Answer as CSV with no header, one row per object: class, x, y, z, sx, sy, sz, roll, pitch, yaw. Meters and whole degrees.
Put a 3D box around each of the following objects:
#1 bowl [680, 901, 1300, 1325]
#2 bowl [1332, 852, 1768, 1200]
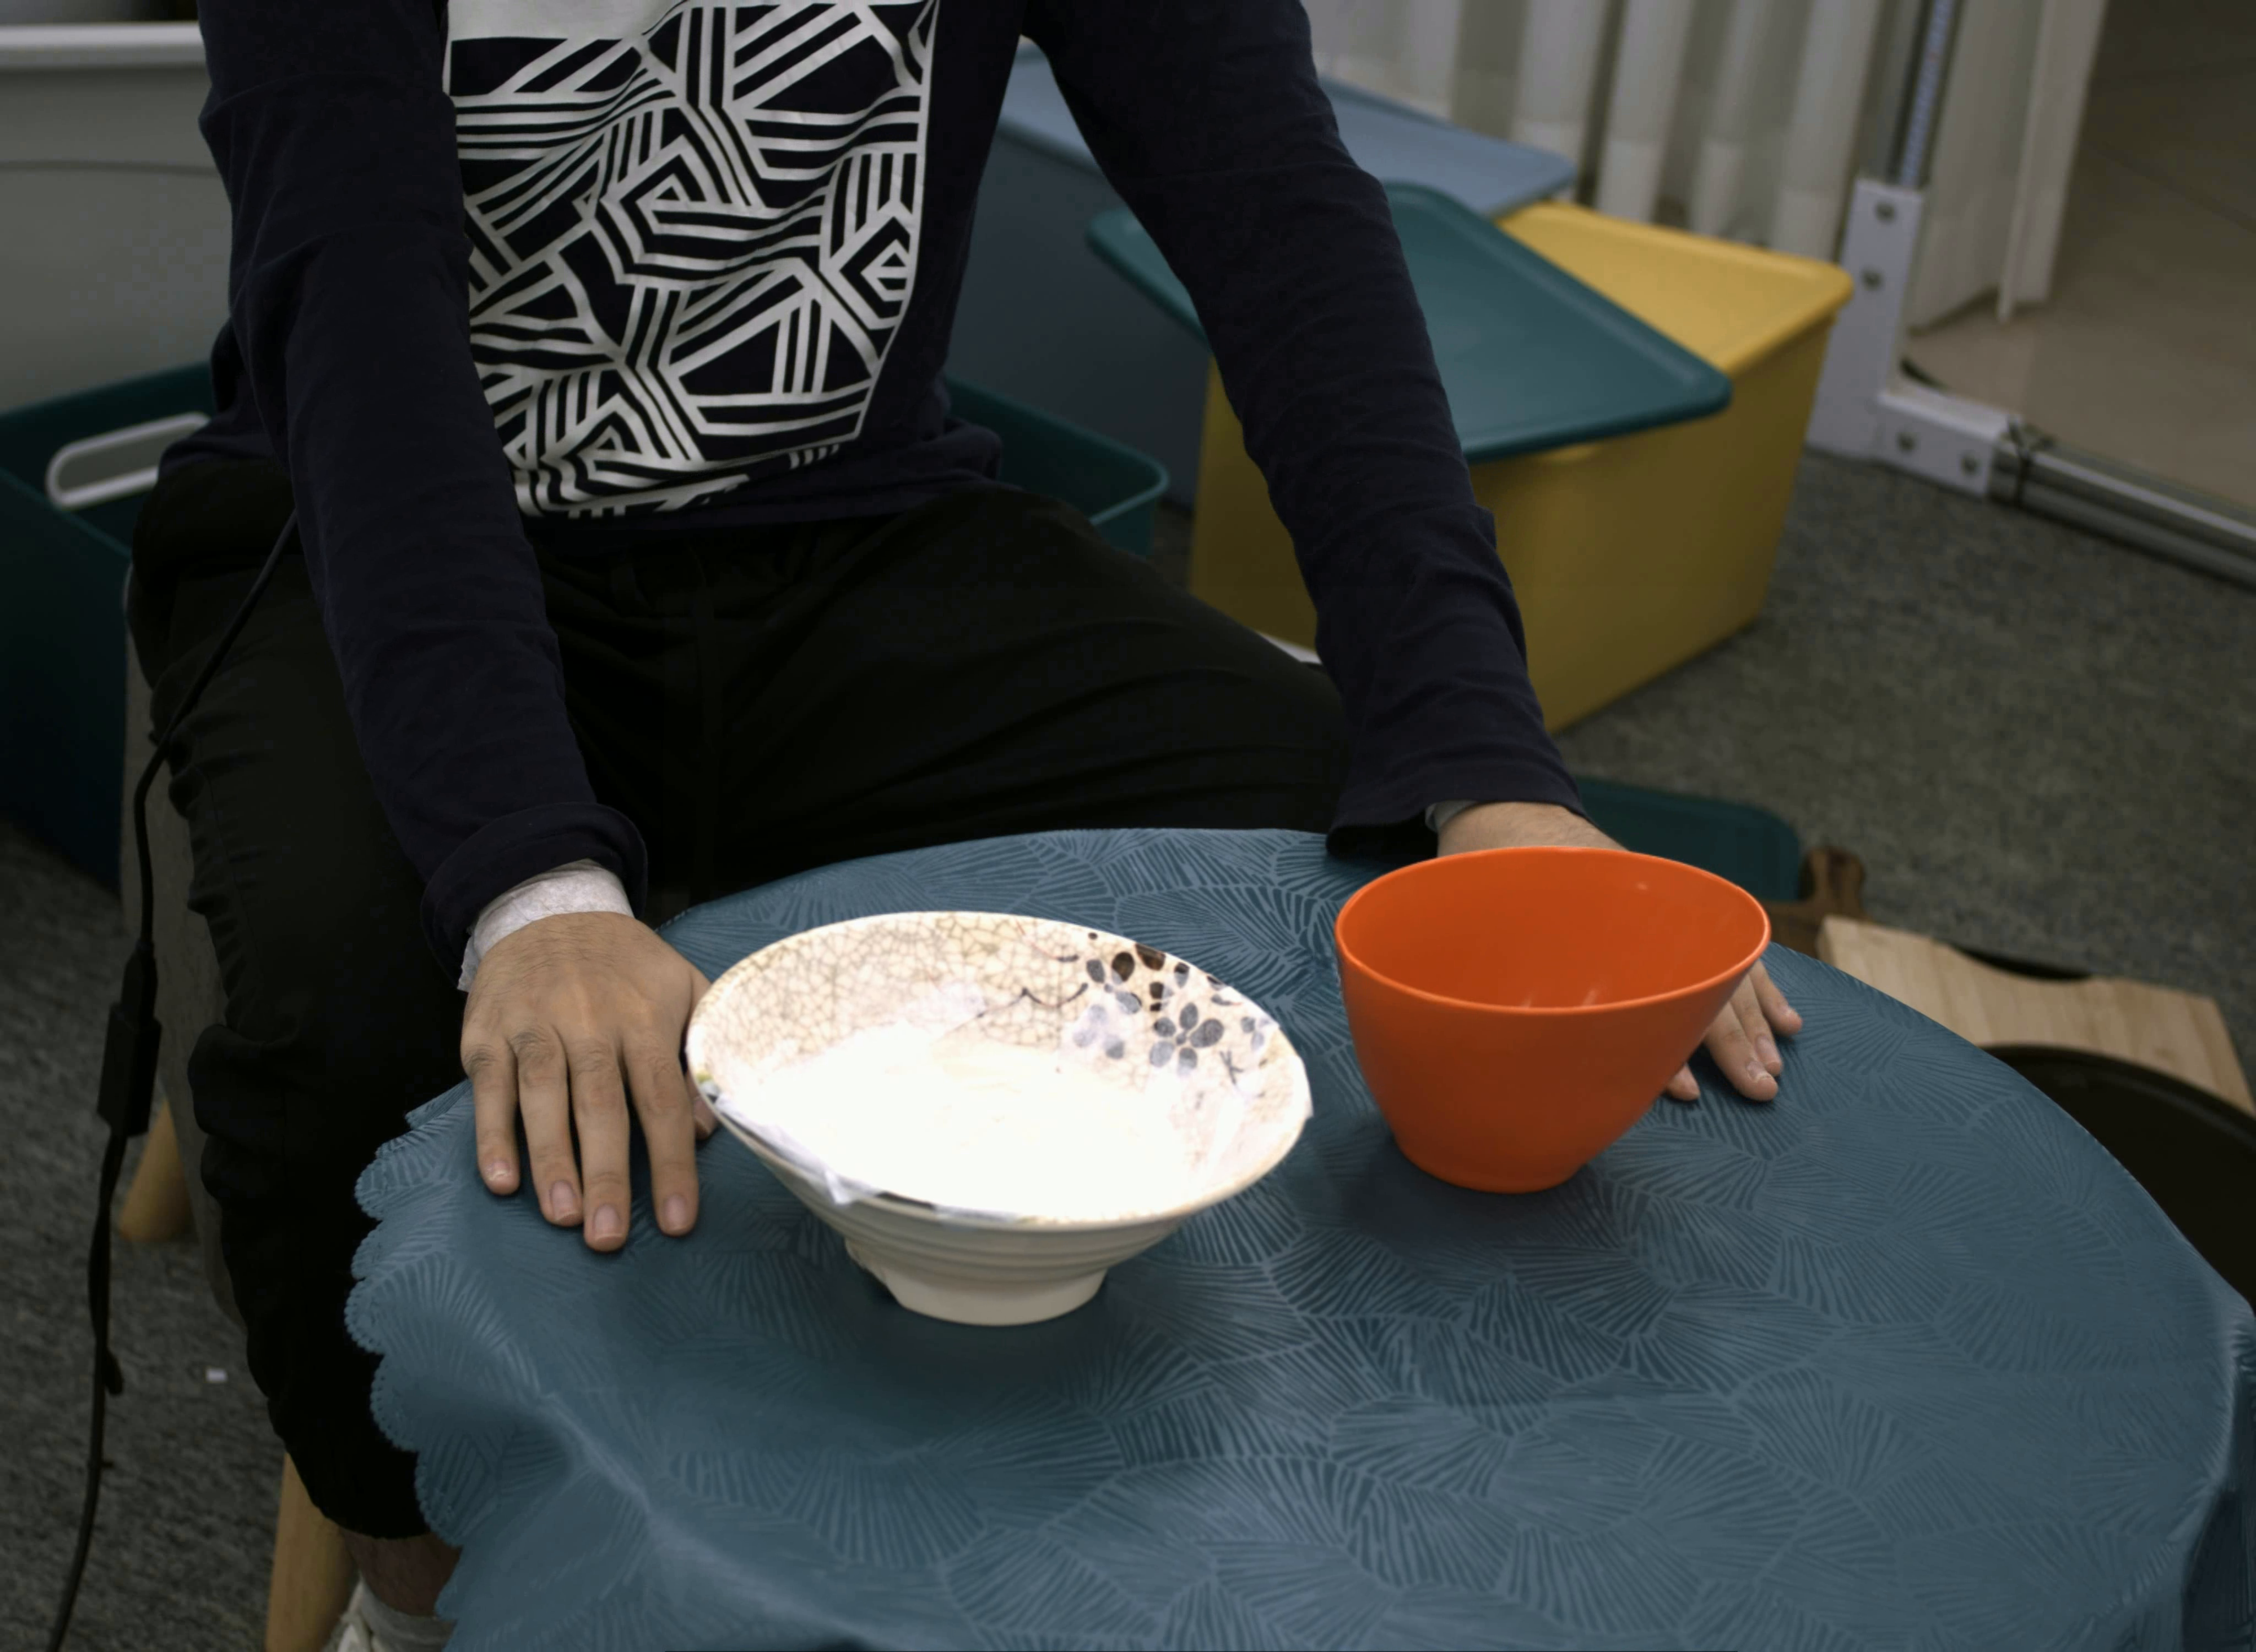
bowl,-0.049,0.107,1.738,0.203,0.078,0.205,7,27,-4
bowl,0.140,0.072,1.830,0.147,0.104,0.149,4,25,-2
